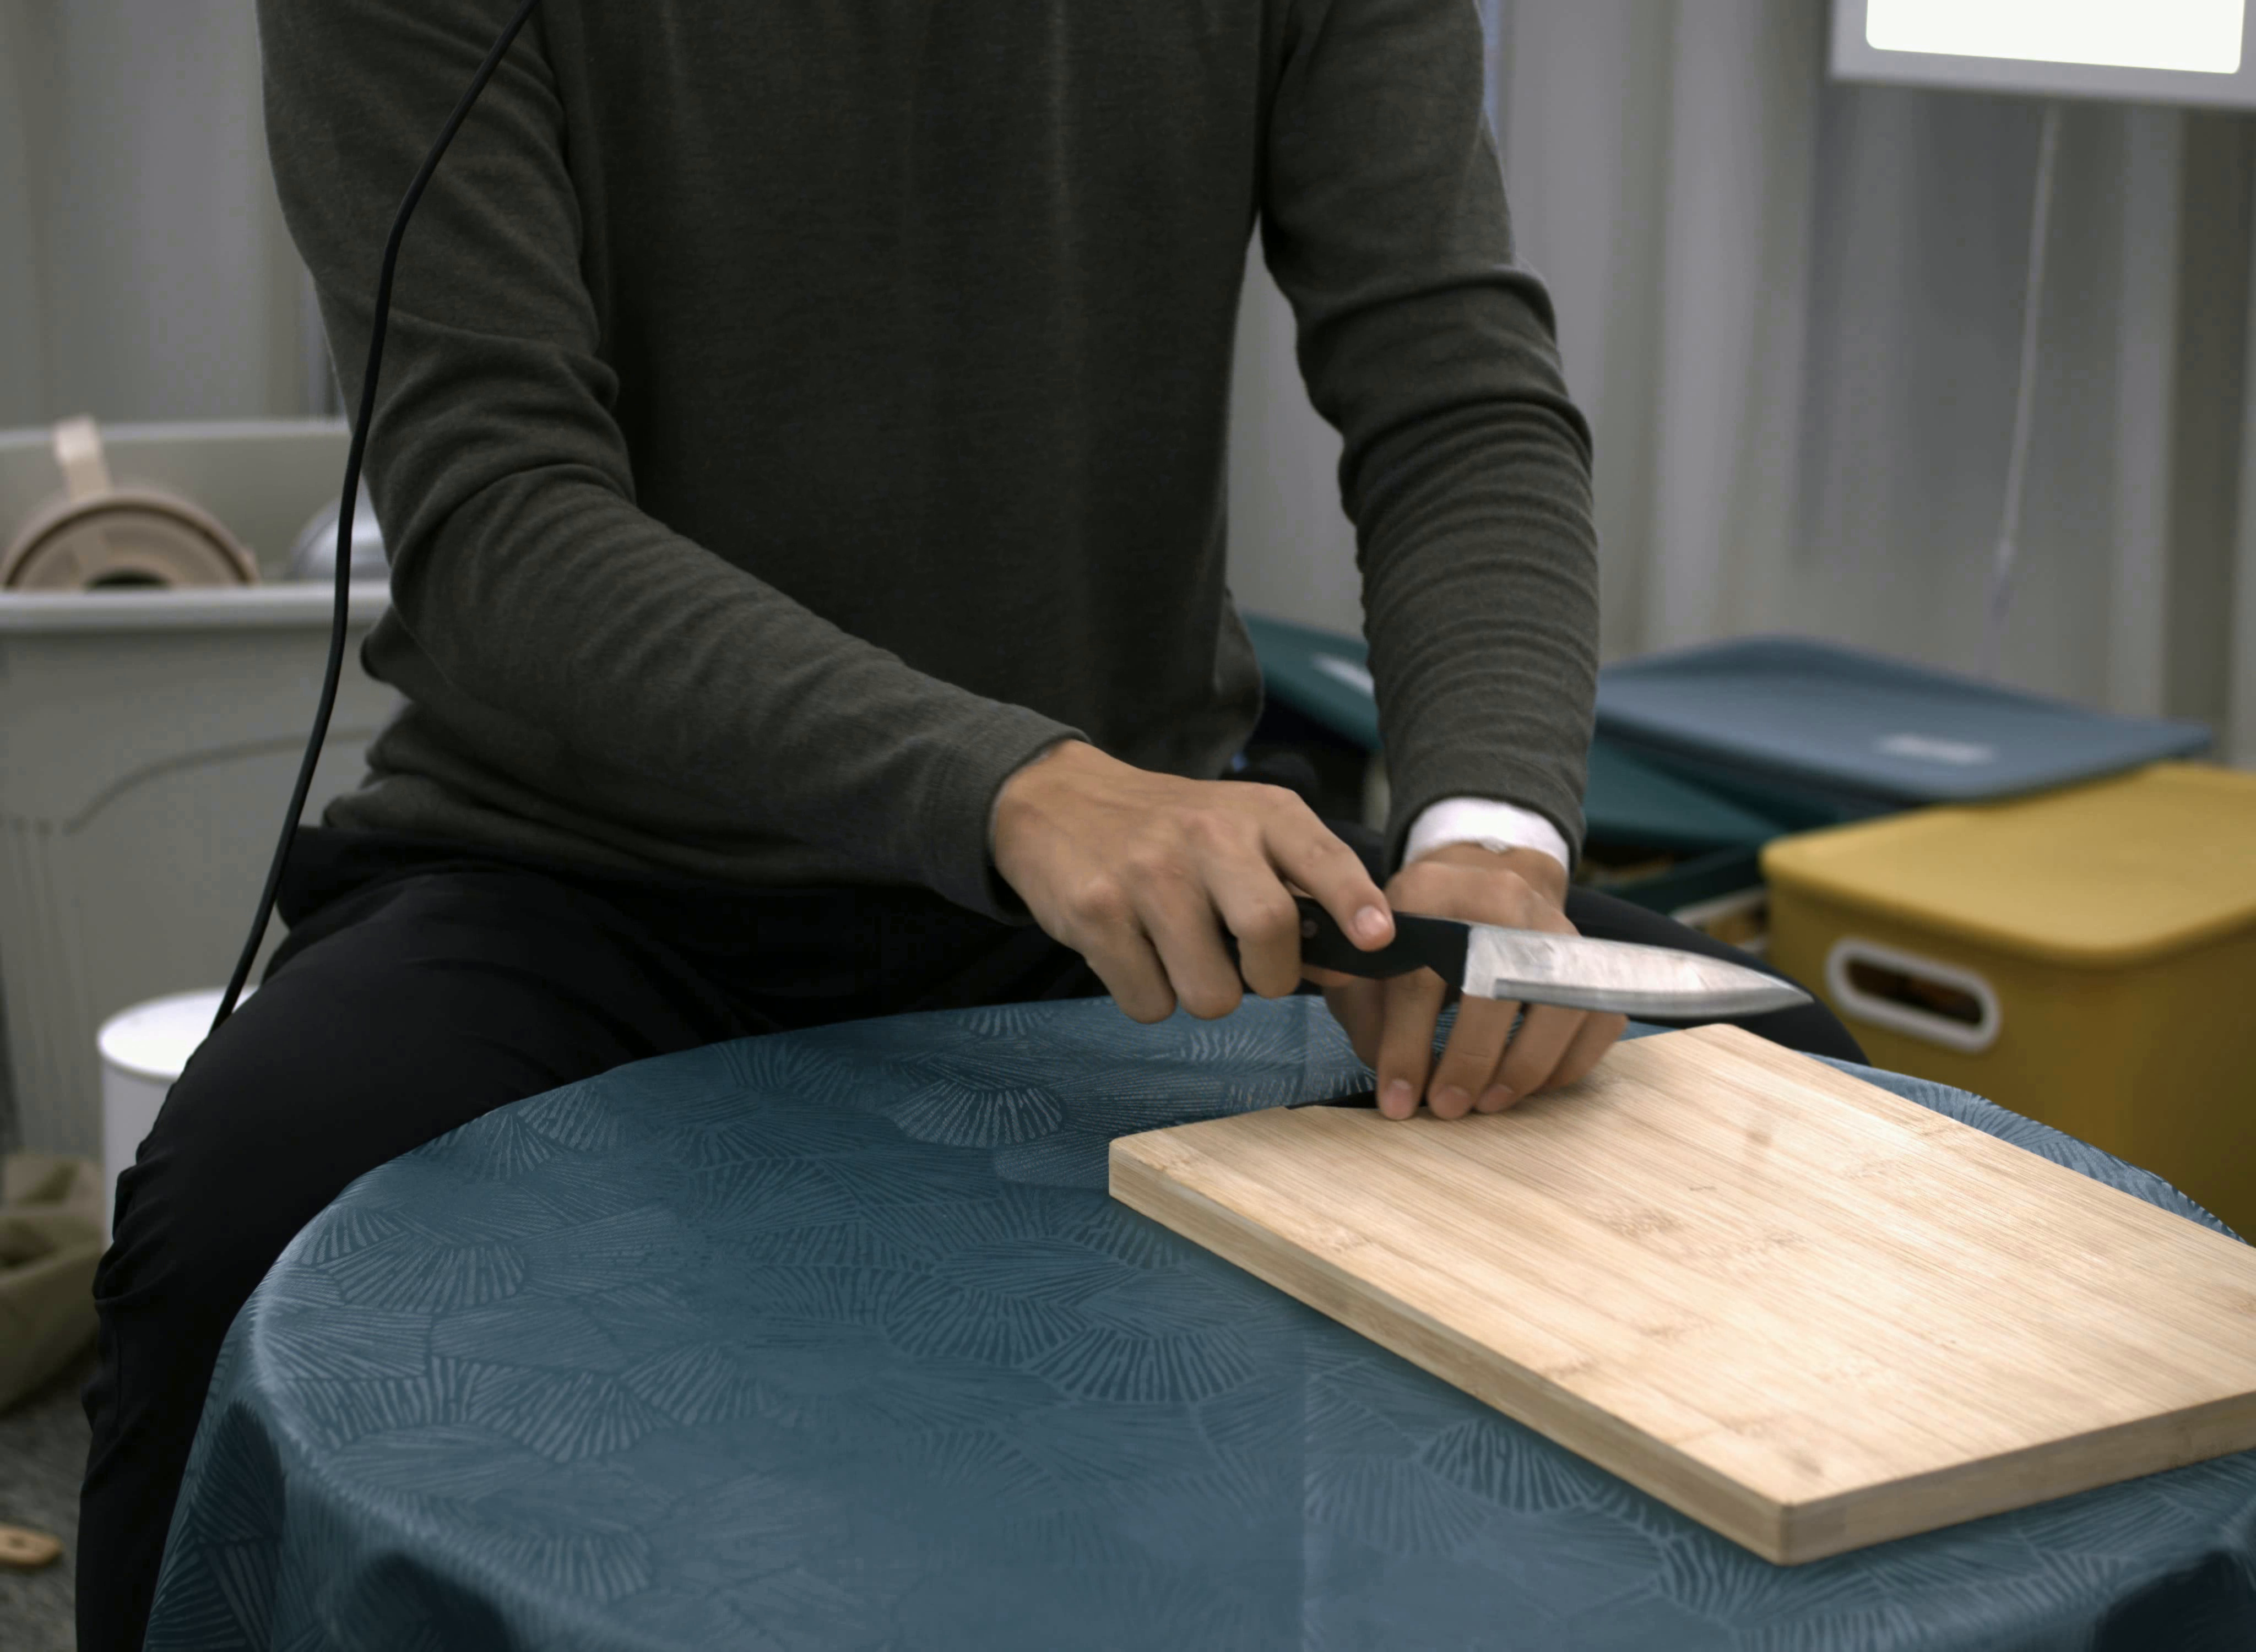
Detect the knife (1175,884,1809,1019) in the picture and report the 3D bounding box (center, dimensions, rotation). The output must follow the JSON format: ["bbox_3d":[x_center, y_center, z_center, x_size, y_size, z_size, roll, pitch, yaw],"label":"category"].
[{"bbox_3d":[0.106,0.037,1.581,0.235,0.024,0.016,7,4,41],"label":"knife"}]

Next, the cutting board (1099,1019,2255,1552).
[{"bbox_3d":[0.180,0.127,1.549,0.252,0.024,0.344,-9,18,-31],"label":"cutting board"}]
